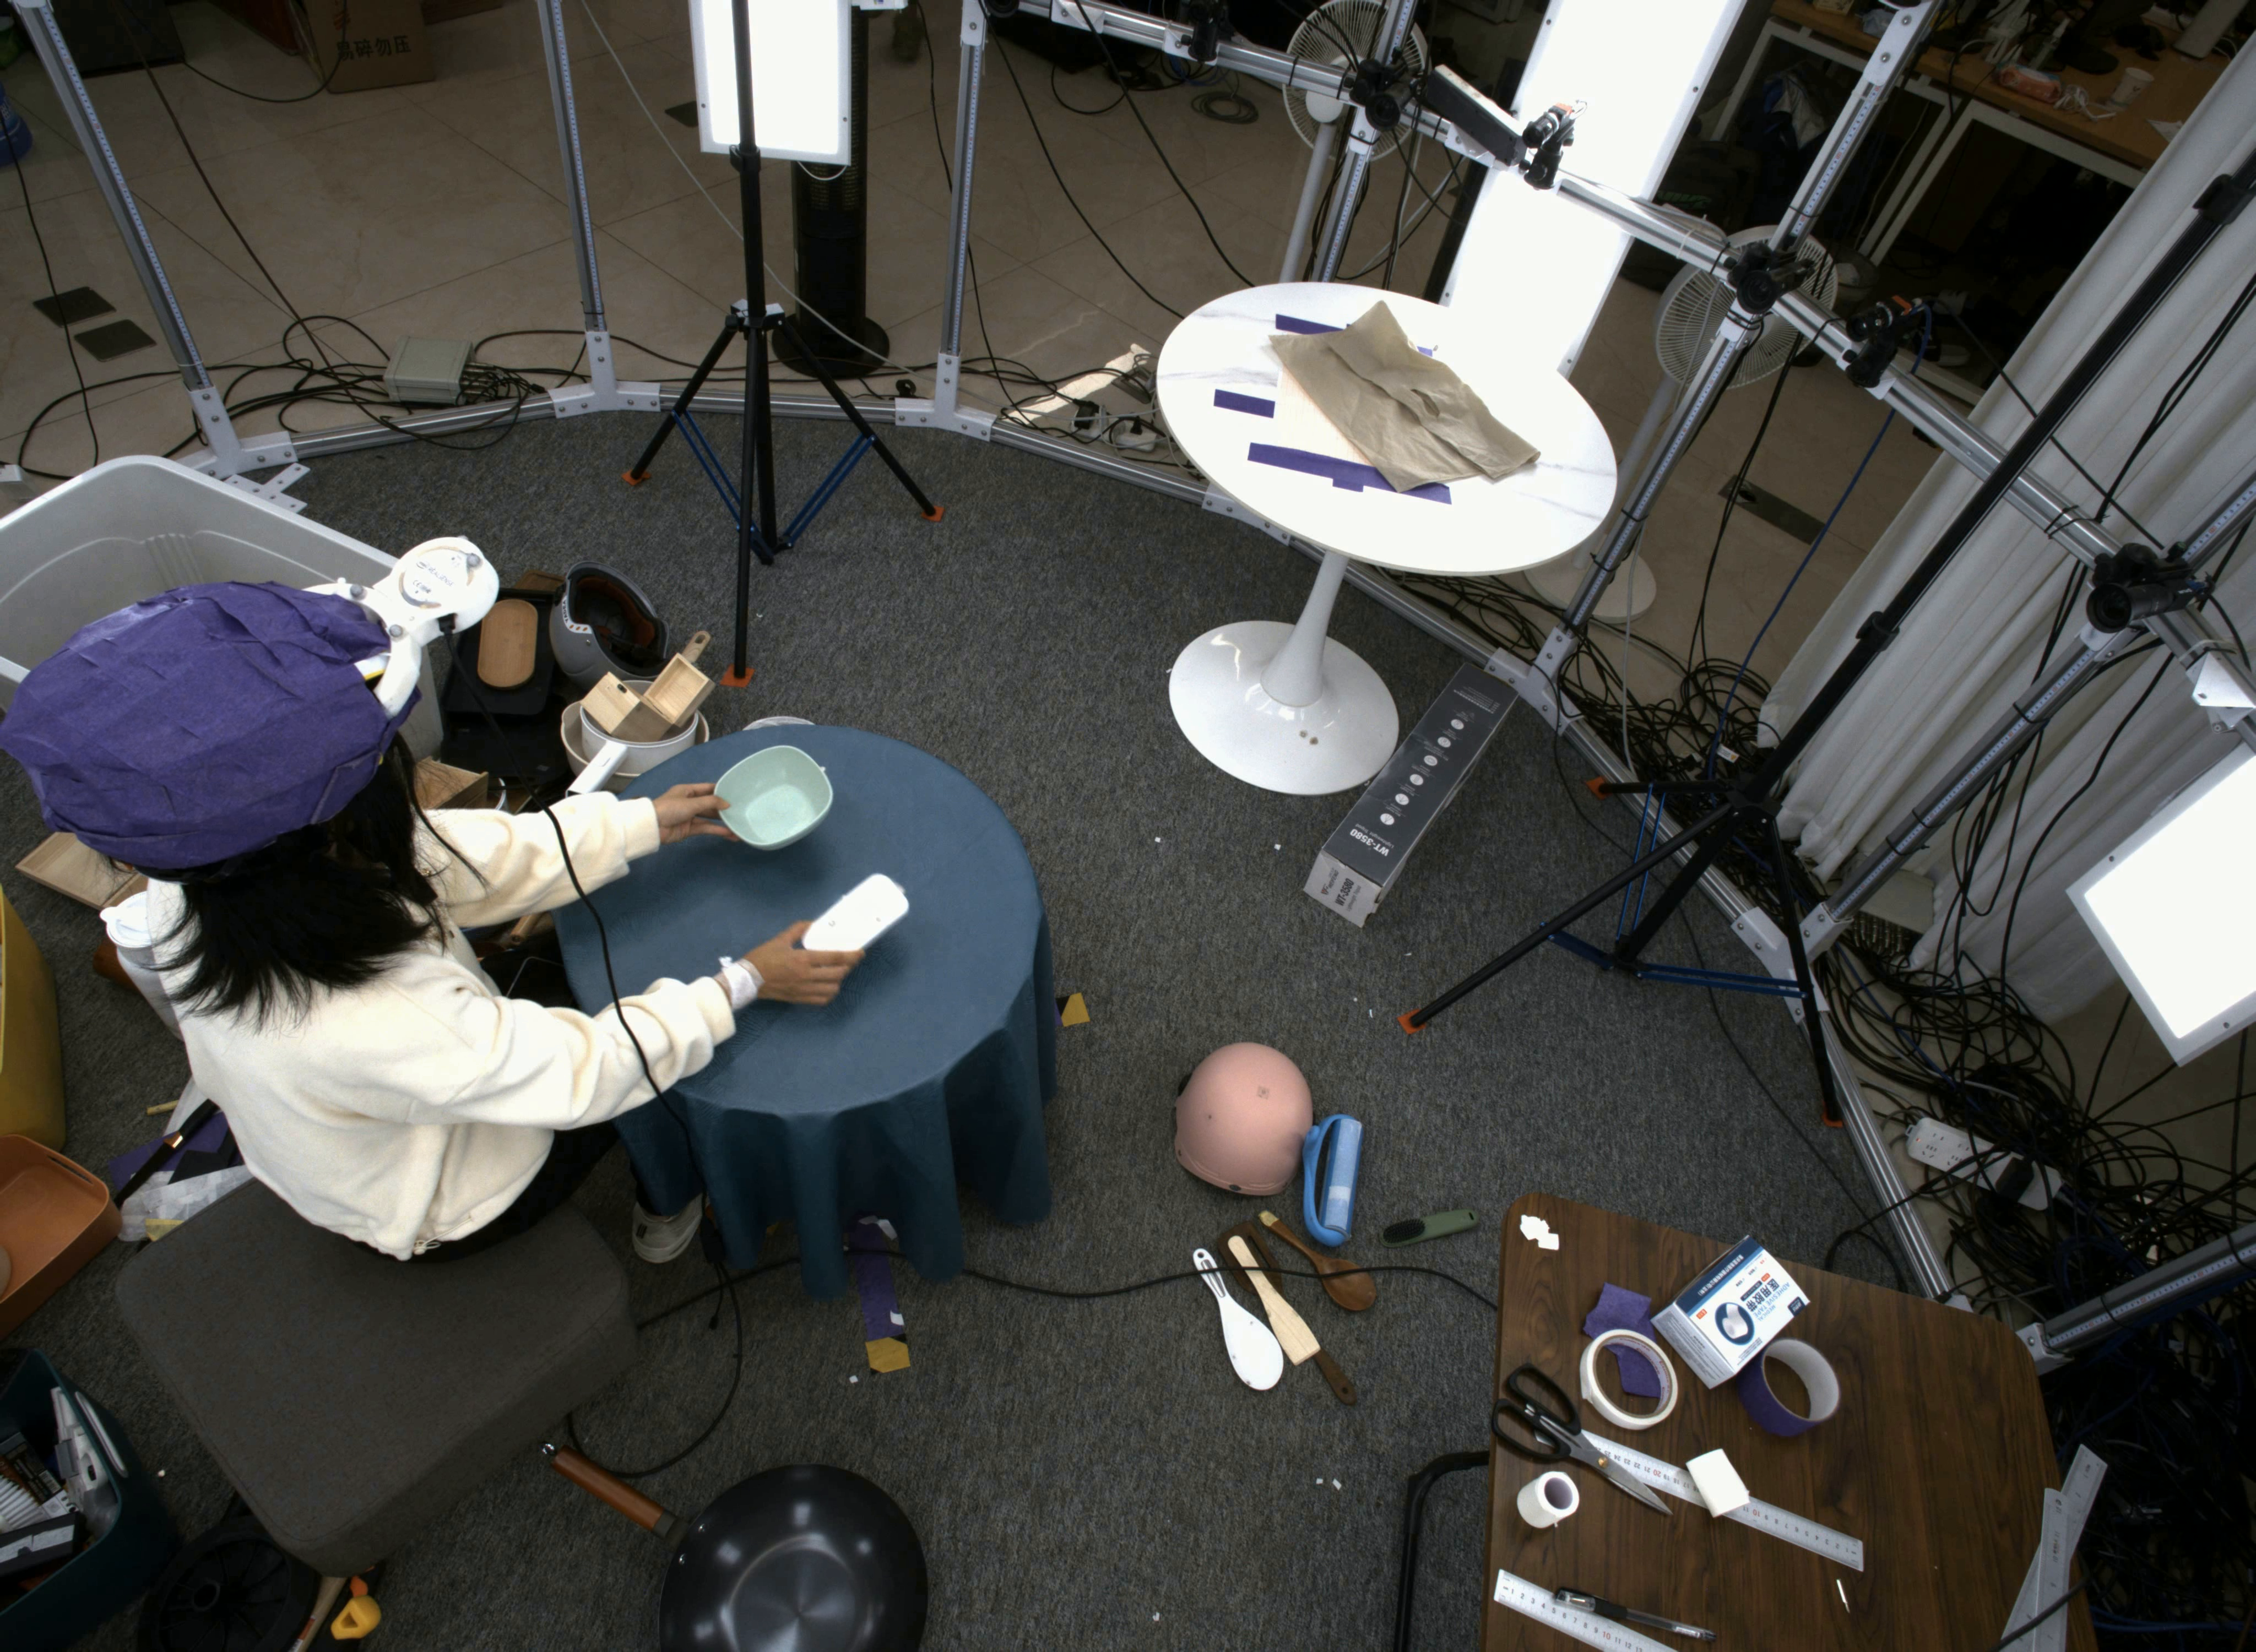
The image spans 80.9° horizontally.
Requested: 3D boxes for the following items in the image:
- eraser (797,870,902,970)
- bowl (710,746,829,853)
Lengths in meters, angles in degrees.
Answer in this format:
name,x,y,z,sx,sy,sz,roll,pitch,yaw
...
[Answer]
name,x,y,z,sx,sy,sz,roll,pitch,yaw
eraser,-0.338,0.111,1.575,0.131,0.035,0.062,-42,76,-17
bowl,-0.449,-0.024,1.645,0.150,0.060,0.149,1,58,0
